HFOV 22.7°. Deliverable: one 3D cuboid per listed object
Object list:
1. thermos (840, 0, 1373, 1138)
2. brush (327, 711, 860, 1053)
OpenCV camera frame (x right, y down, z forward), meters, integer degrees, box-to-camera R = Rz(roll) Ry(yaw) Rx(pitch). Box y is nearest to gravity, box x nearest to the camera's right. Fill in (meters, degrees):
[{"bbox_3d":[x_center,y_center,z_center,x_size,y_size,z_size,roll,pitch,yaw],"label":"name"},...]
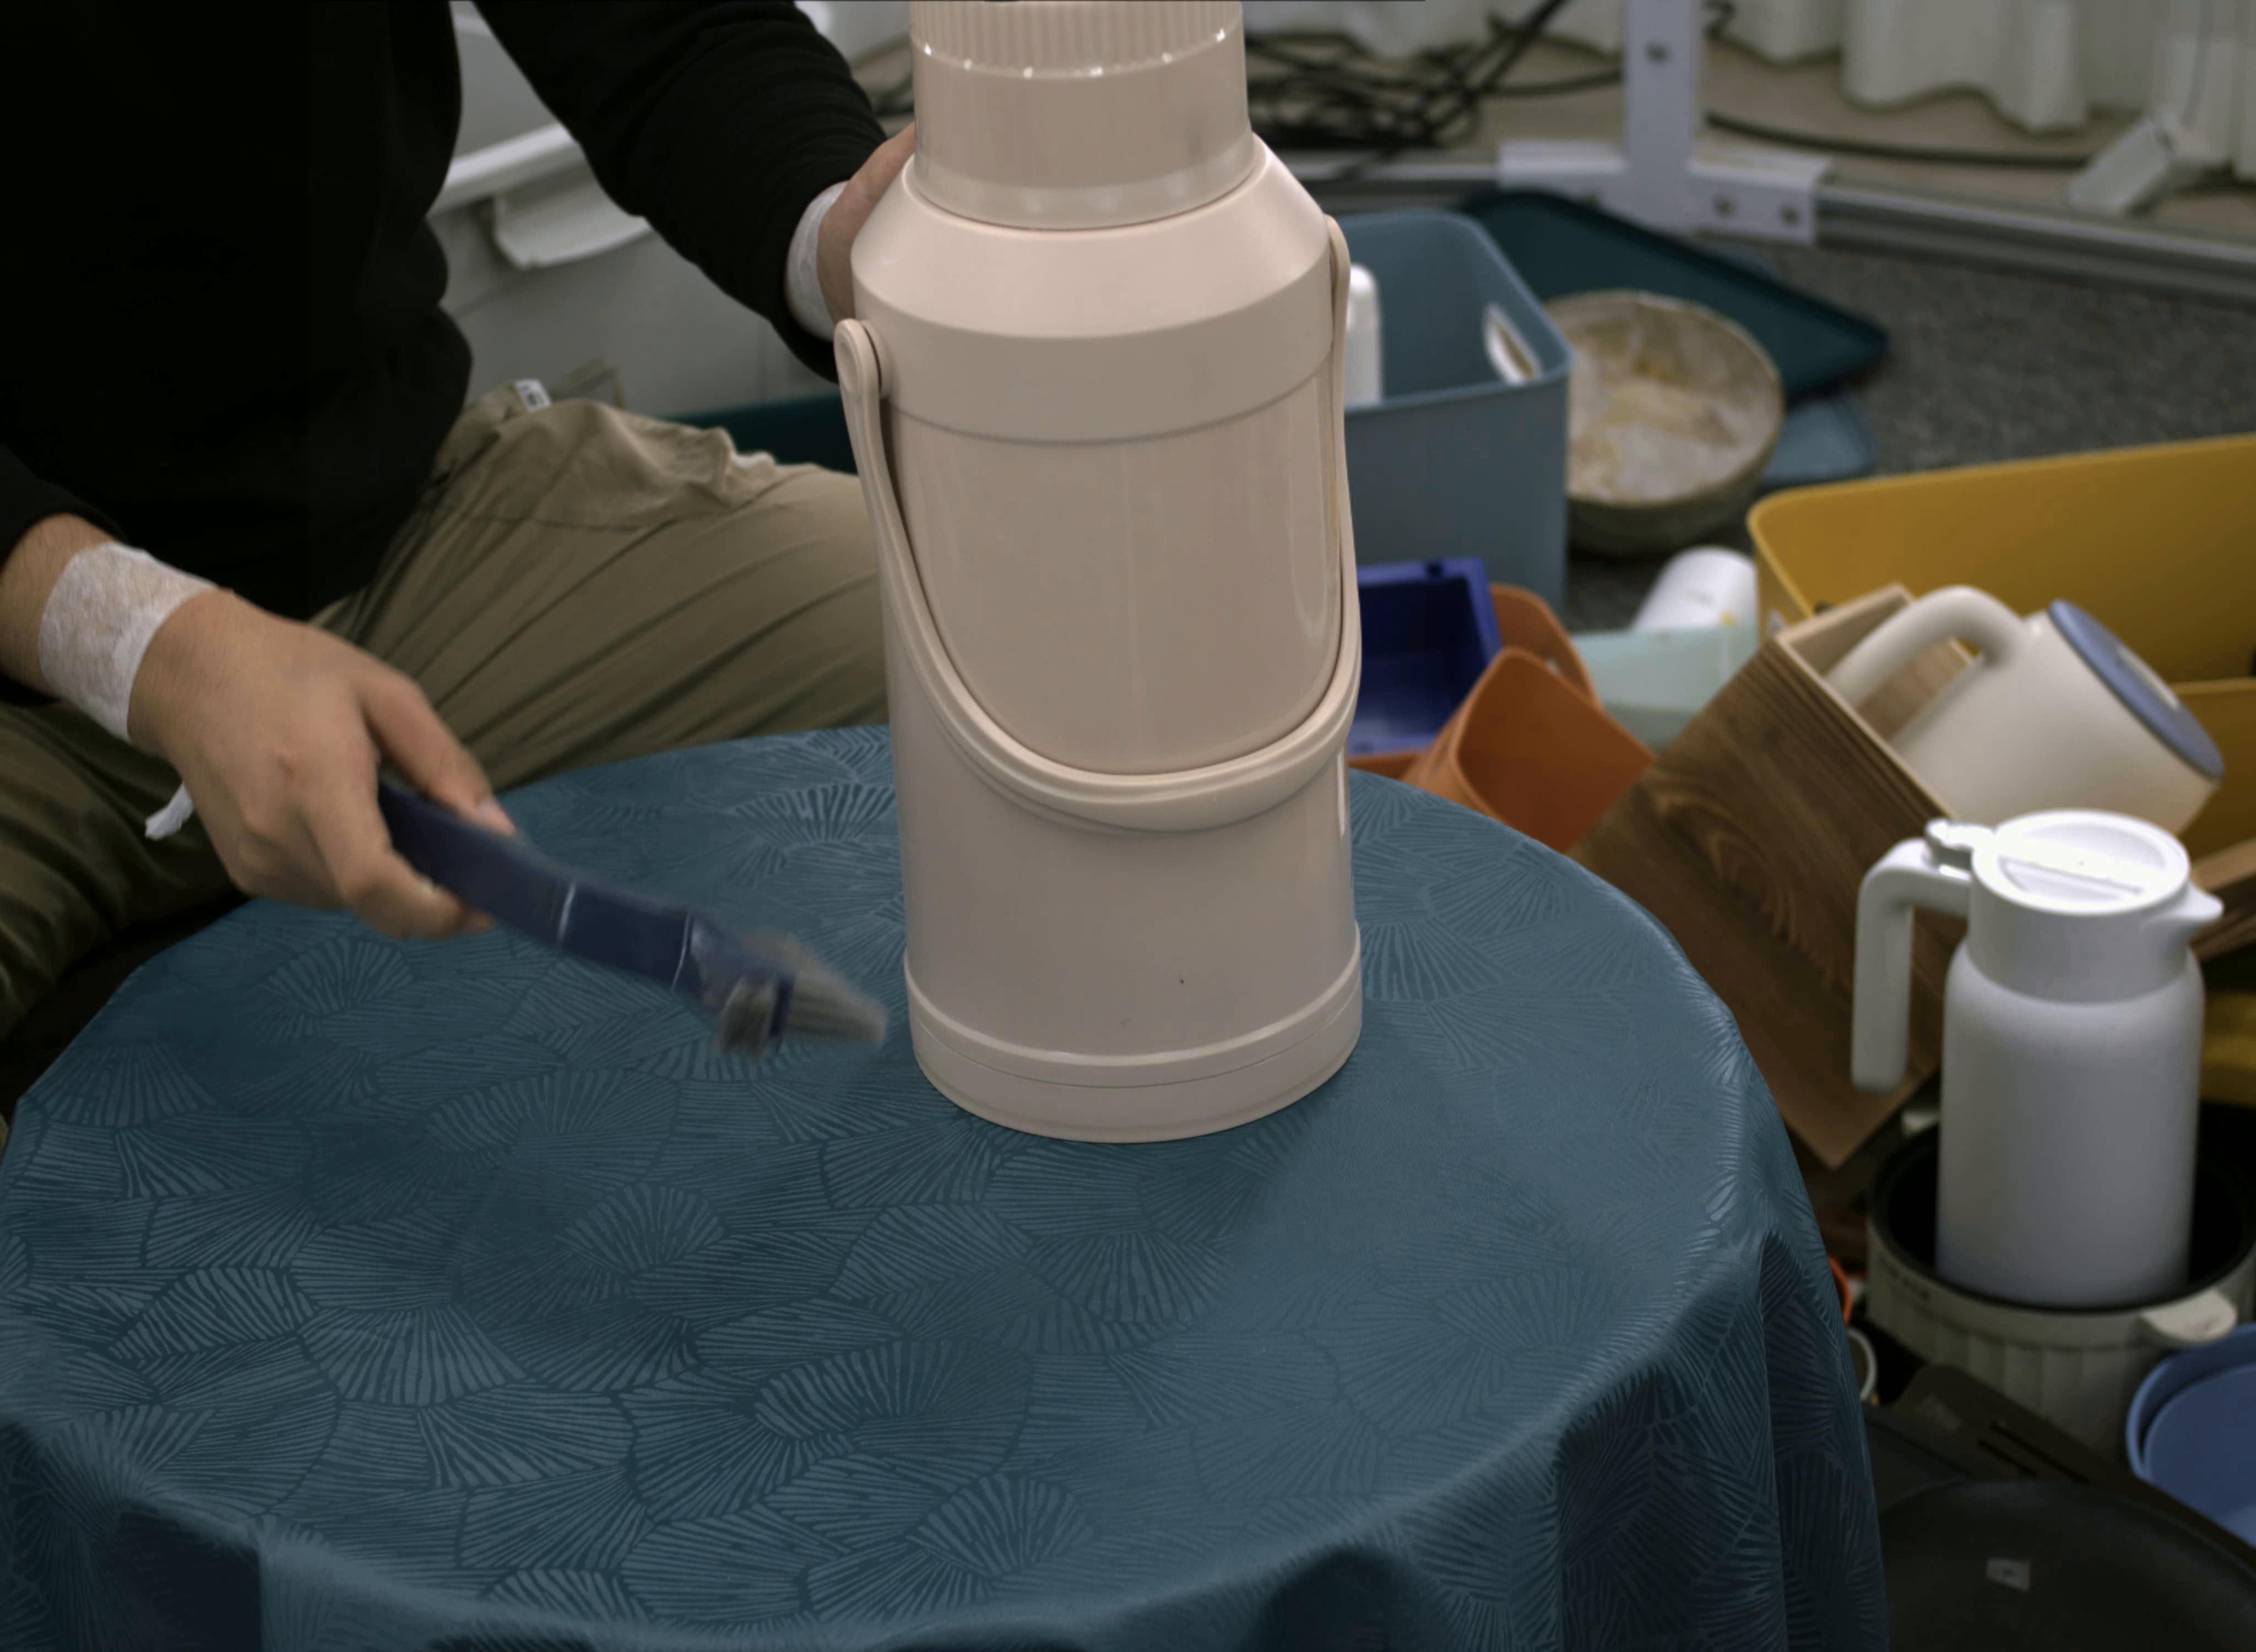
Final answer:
[{"bbox_3d":[-0.010,-0.112,1.887,0.176,0.402,0.208,-16,29,-21],"label":"thermos"},{"bbox_3d":[-0.186,0.016,1.762,0.272,0.033,0.096,21,13,39],"label":"brush"}]
